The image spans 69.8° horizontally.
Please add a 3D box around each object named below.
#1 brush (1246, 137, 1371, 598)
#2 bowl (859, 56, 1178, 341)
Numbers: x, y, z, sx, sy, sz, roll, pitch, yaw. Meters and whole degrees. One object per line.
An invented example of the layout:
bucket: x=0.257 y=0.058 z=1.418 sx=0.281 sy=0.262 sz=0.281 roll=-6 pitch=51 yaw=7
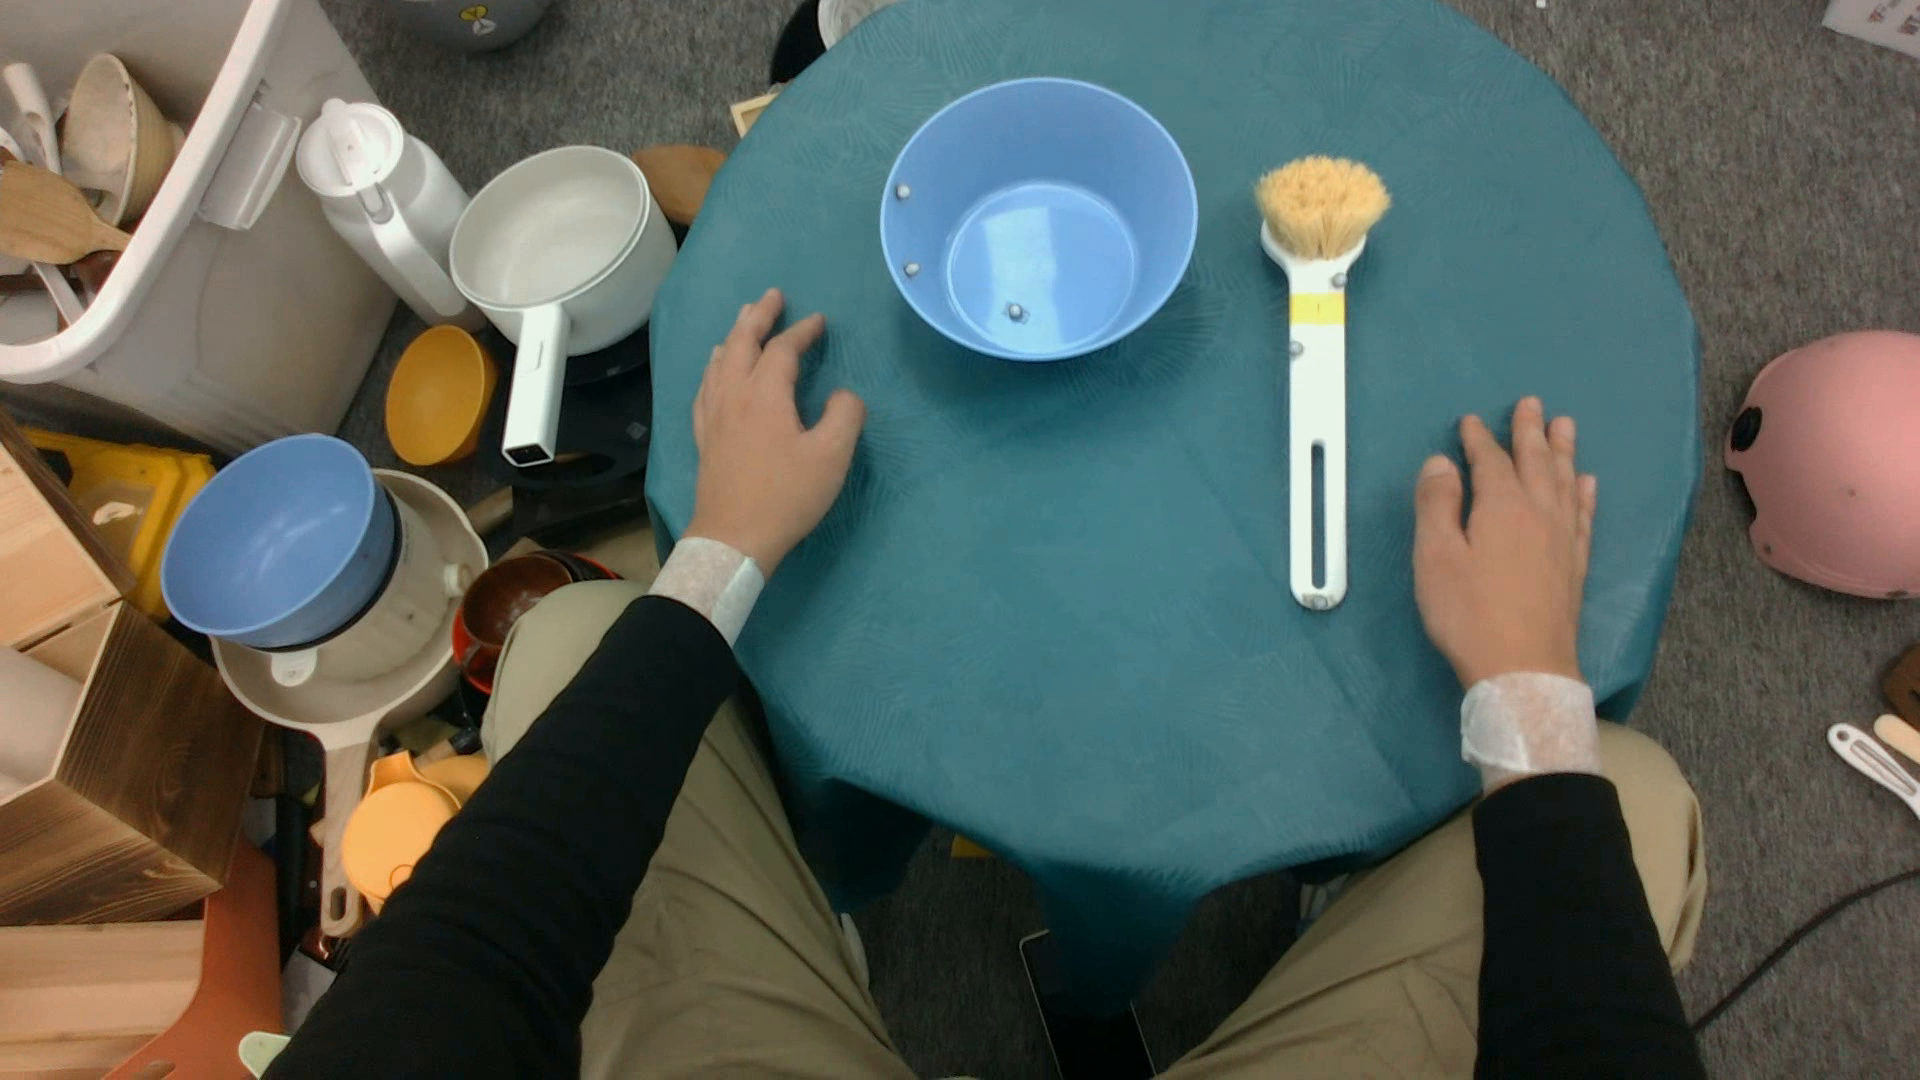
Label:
brush: x=0.192 y=-0.103 z=0.762 sx=0.068 sy=0.056 sz=0.267 roll=1 pitch=73 yaw=9
bowl: x=0.034 y=-0.182 z=0.787 sx=0.176 sy=0.070 sz=0.176 roll=-1 pitch=73 yaw=4
